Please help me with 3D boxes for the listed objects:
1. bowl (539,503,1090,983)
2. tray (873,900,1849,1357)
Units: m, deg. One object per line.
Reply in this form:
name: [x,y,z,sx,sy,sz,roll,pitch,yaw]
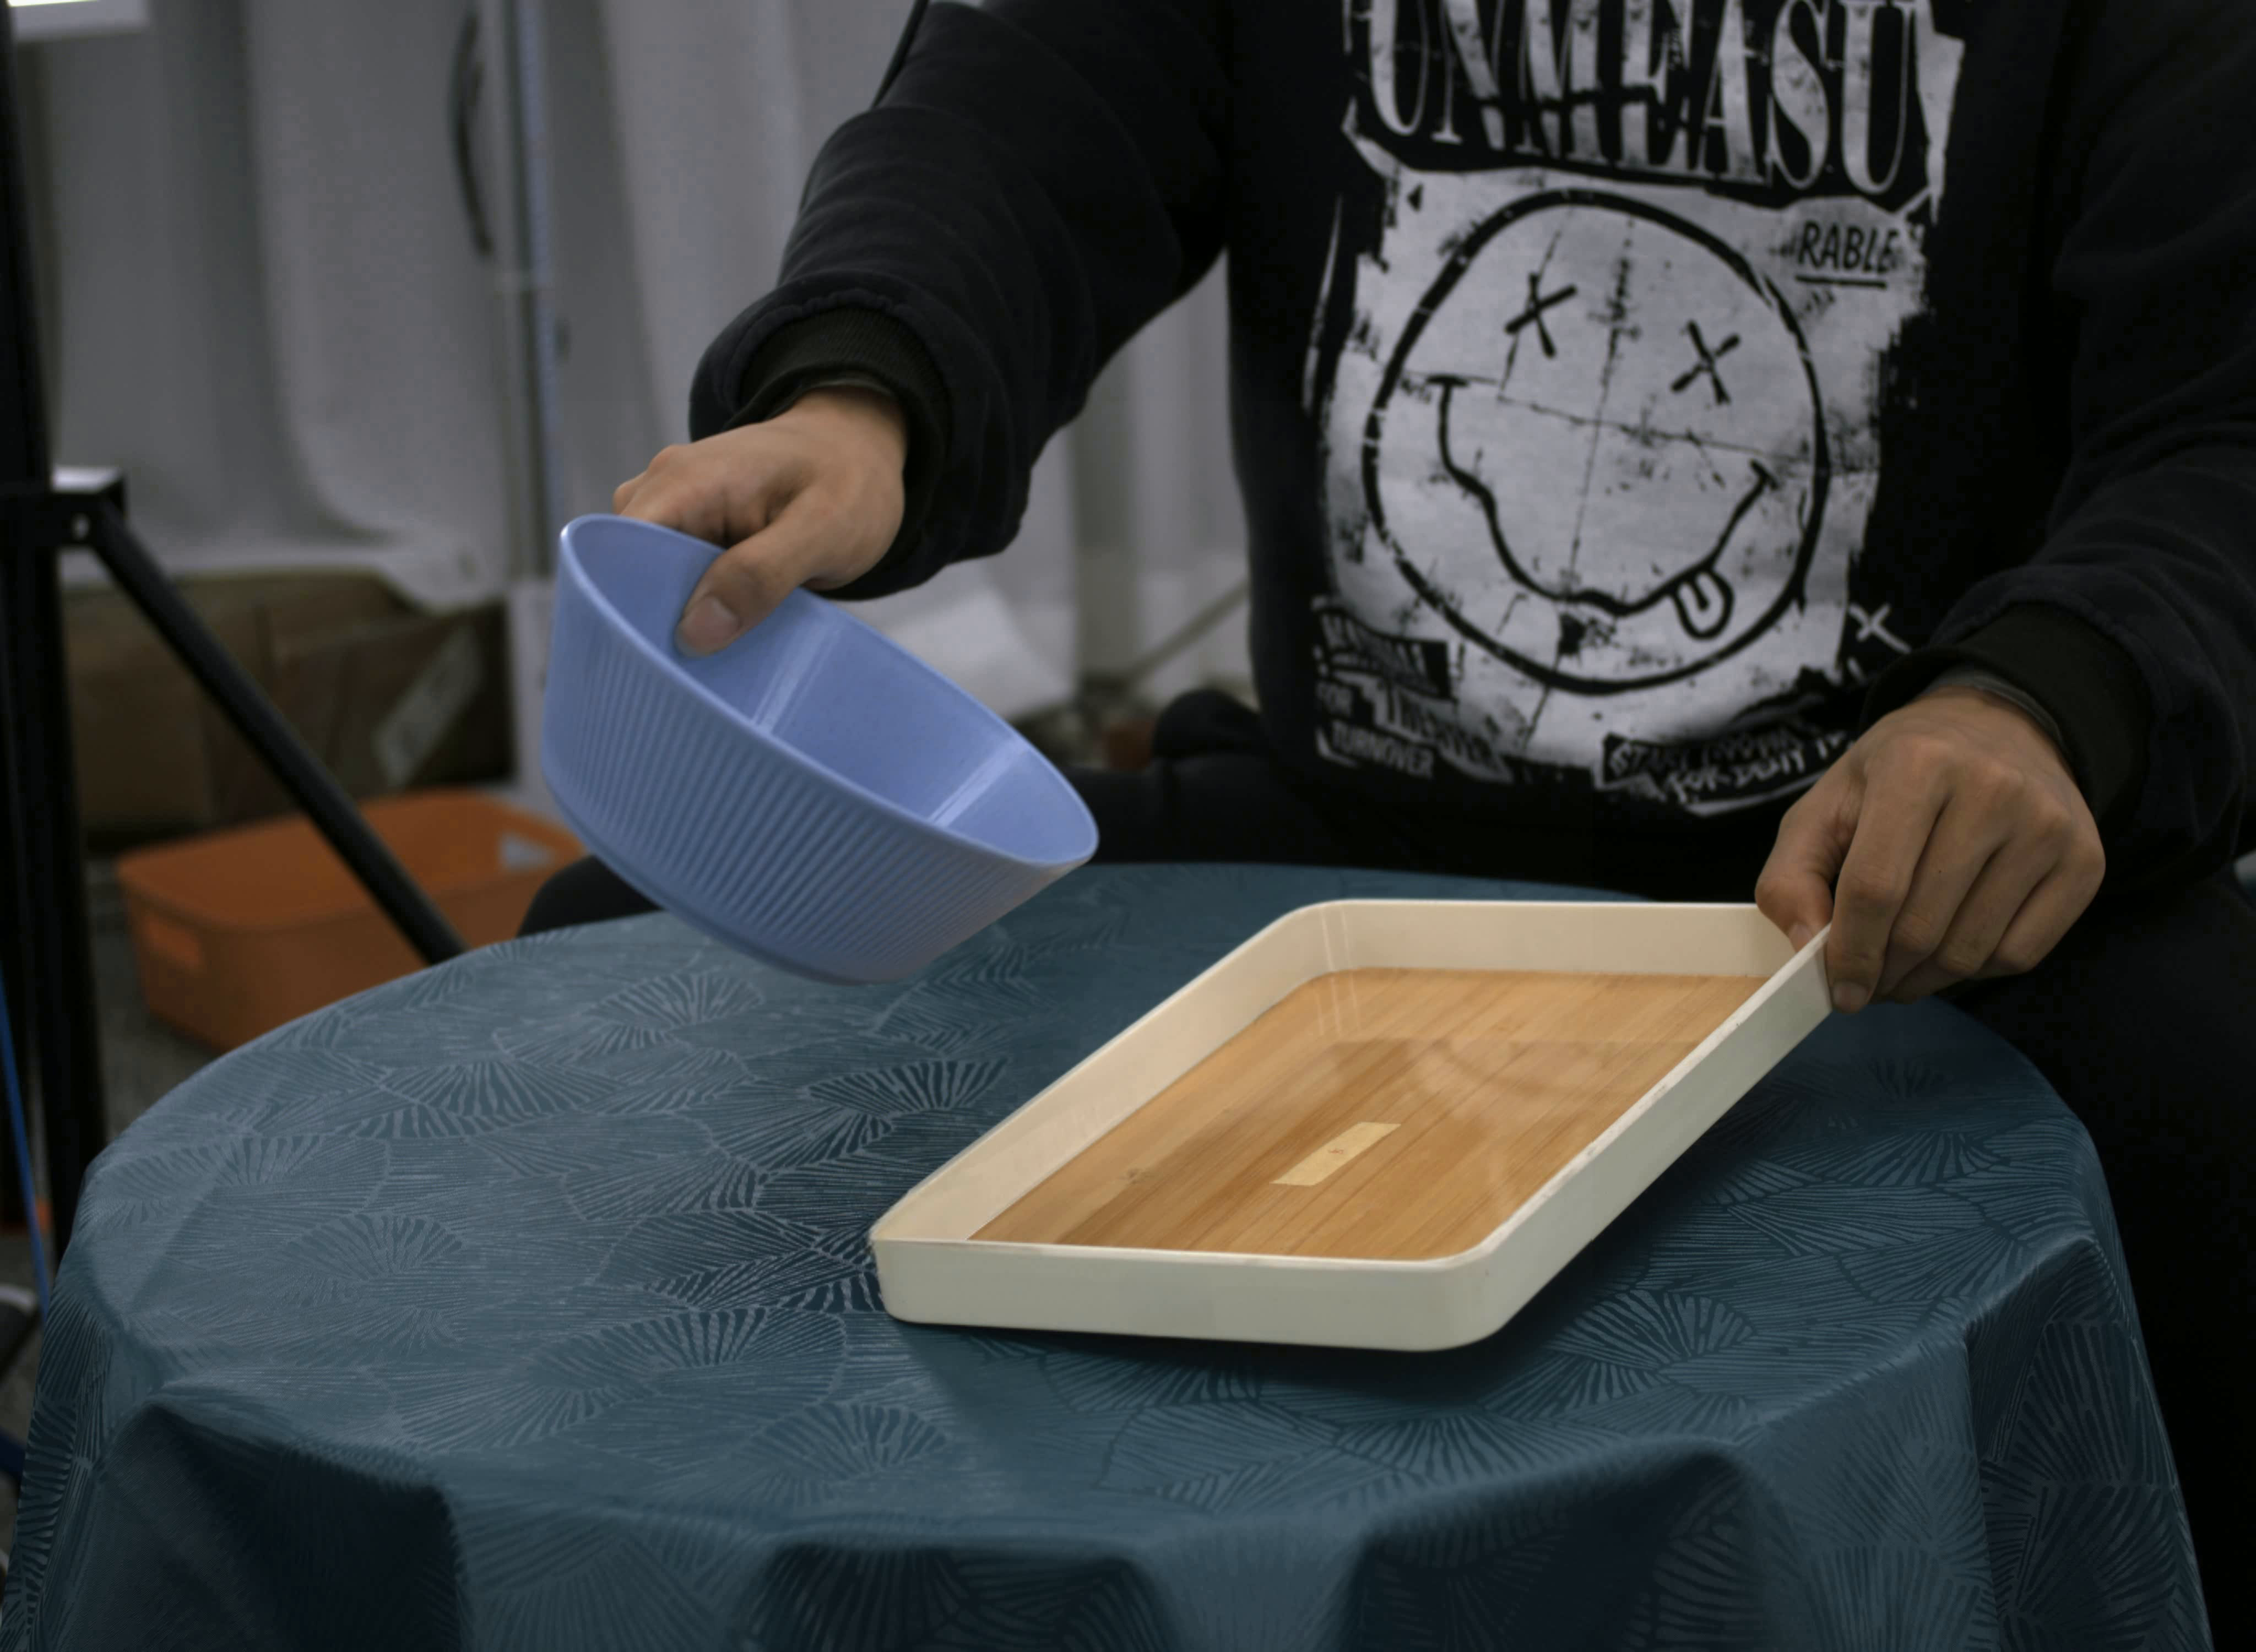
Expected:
bowl: [-0.100,-0.015,1.512,0.174,0.070,0.177,30,15,-11]
tray: [0.075,0.082,1.538,0.195,0.027,0.295,0,18,29]
